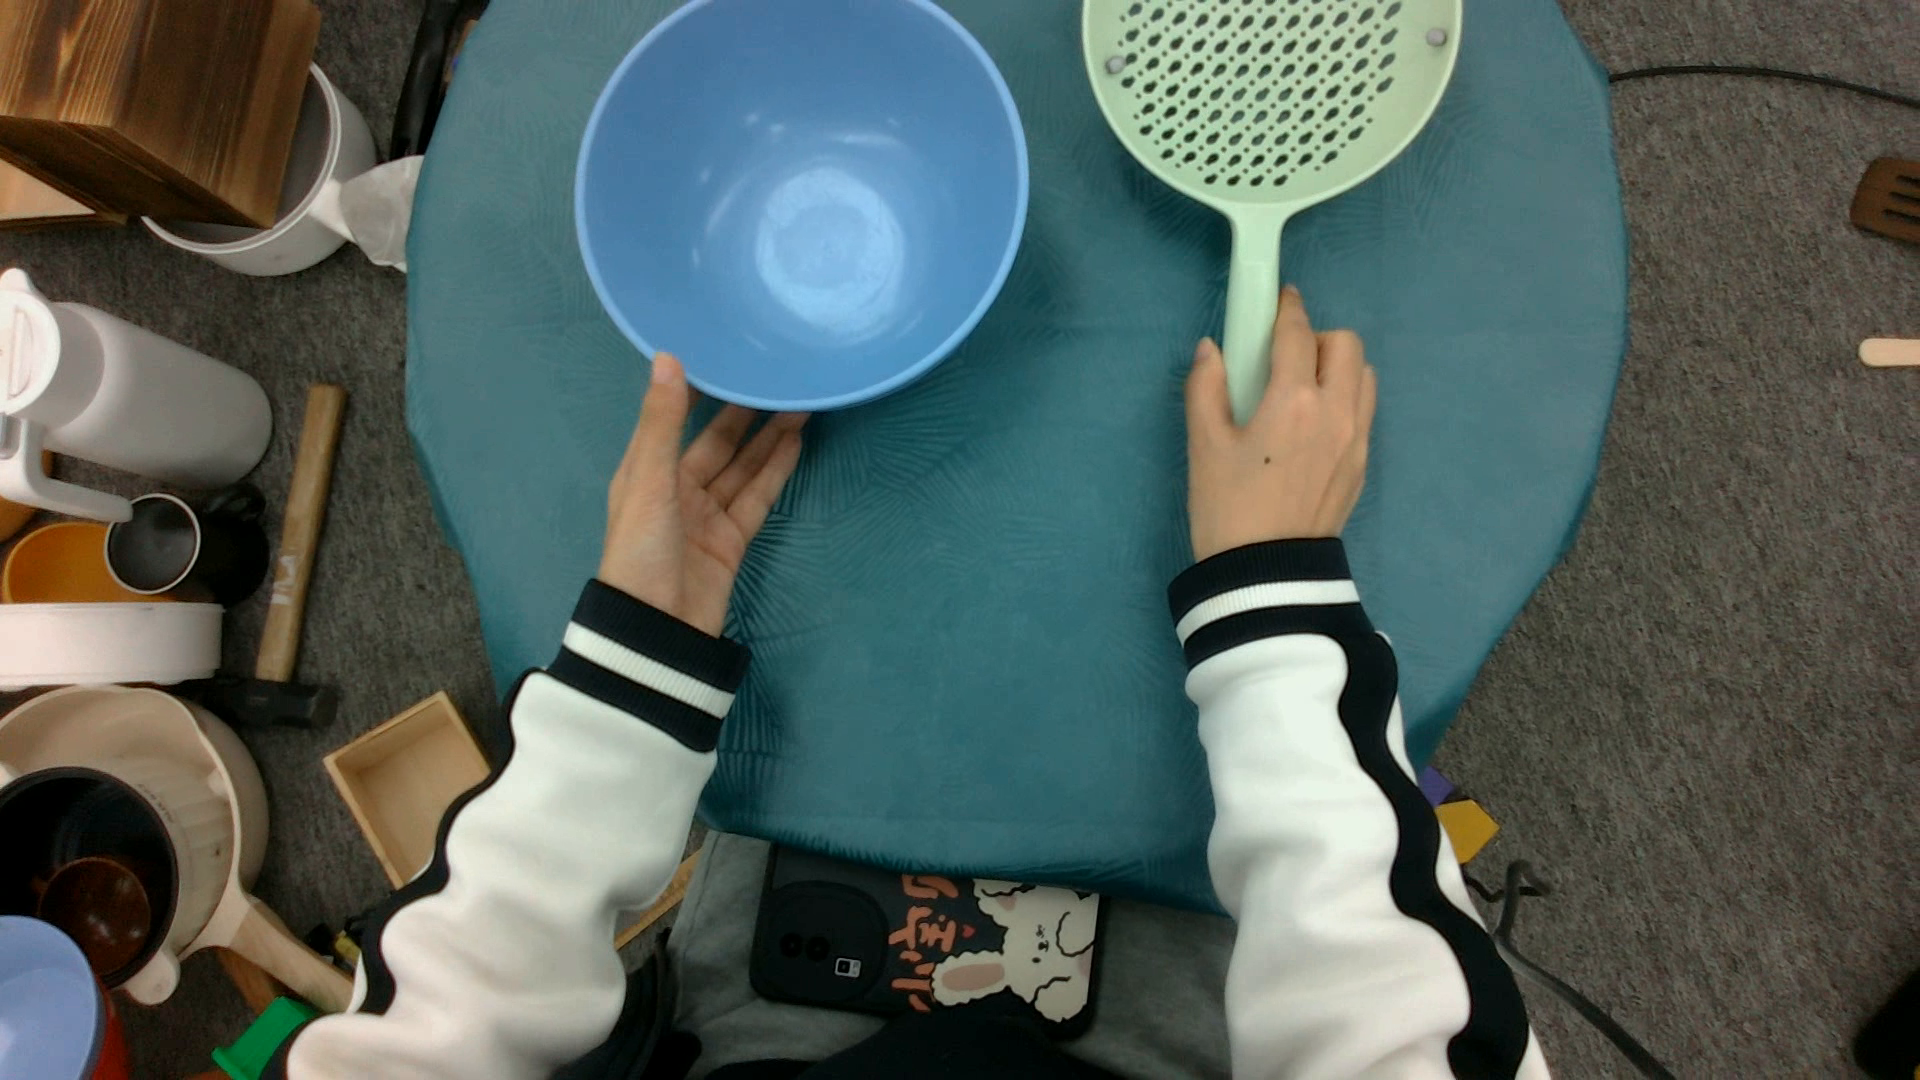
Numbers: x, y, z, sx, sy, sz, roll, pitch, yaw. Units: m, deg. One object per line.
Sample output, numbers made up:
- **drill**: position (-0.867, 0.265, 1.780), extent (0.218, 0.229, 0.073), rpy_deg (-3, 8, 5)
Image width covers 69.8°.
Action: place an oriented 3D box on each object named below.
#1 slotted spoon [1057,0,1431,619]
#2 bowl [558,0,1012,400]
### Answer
- **slotted spoon**: position (0.127, -0.144, 0.644), extent (0.169, 0.075, 0.359), rpy_deg (2, 84, 5)
- **bowl**: position (-0.074, -0.151, 0.637), extent (0.196, 0.095, 0.196), rpy_deg (0, 82, 2)
